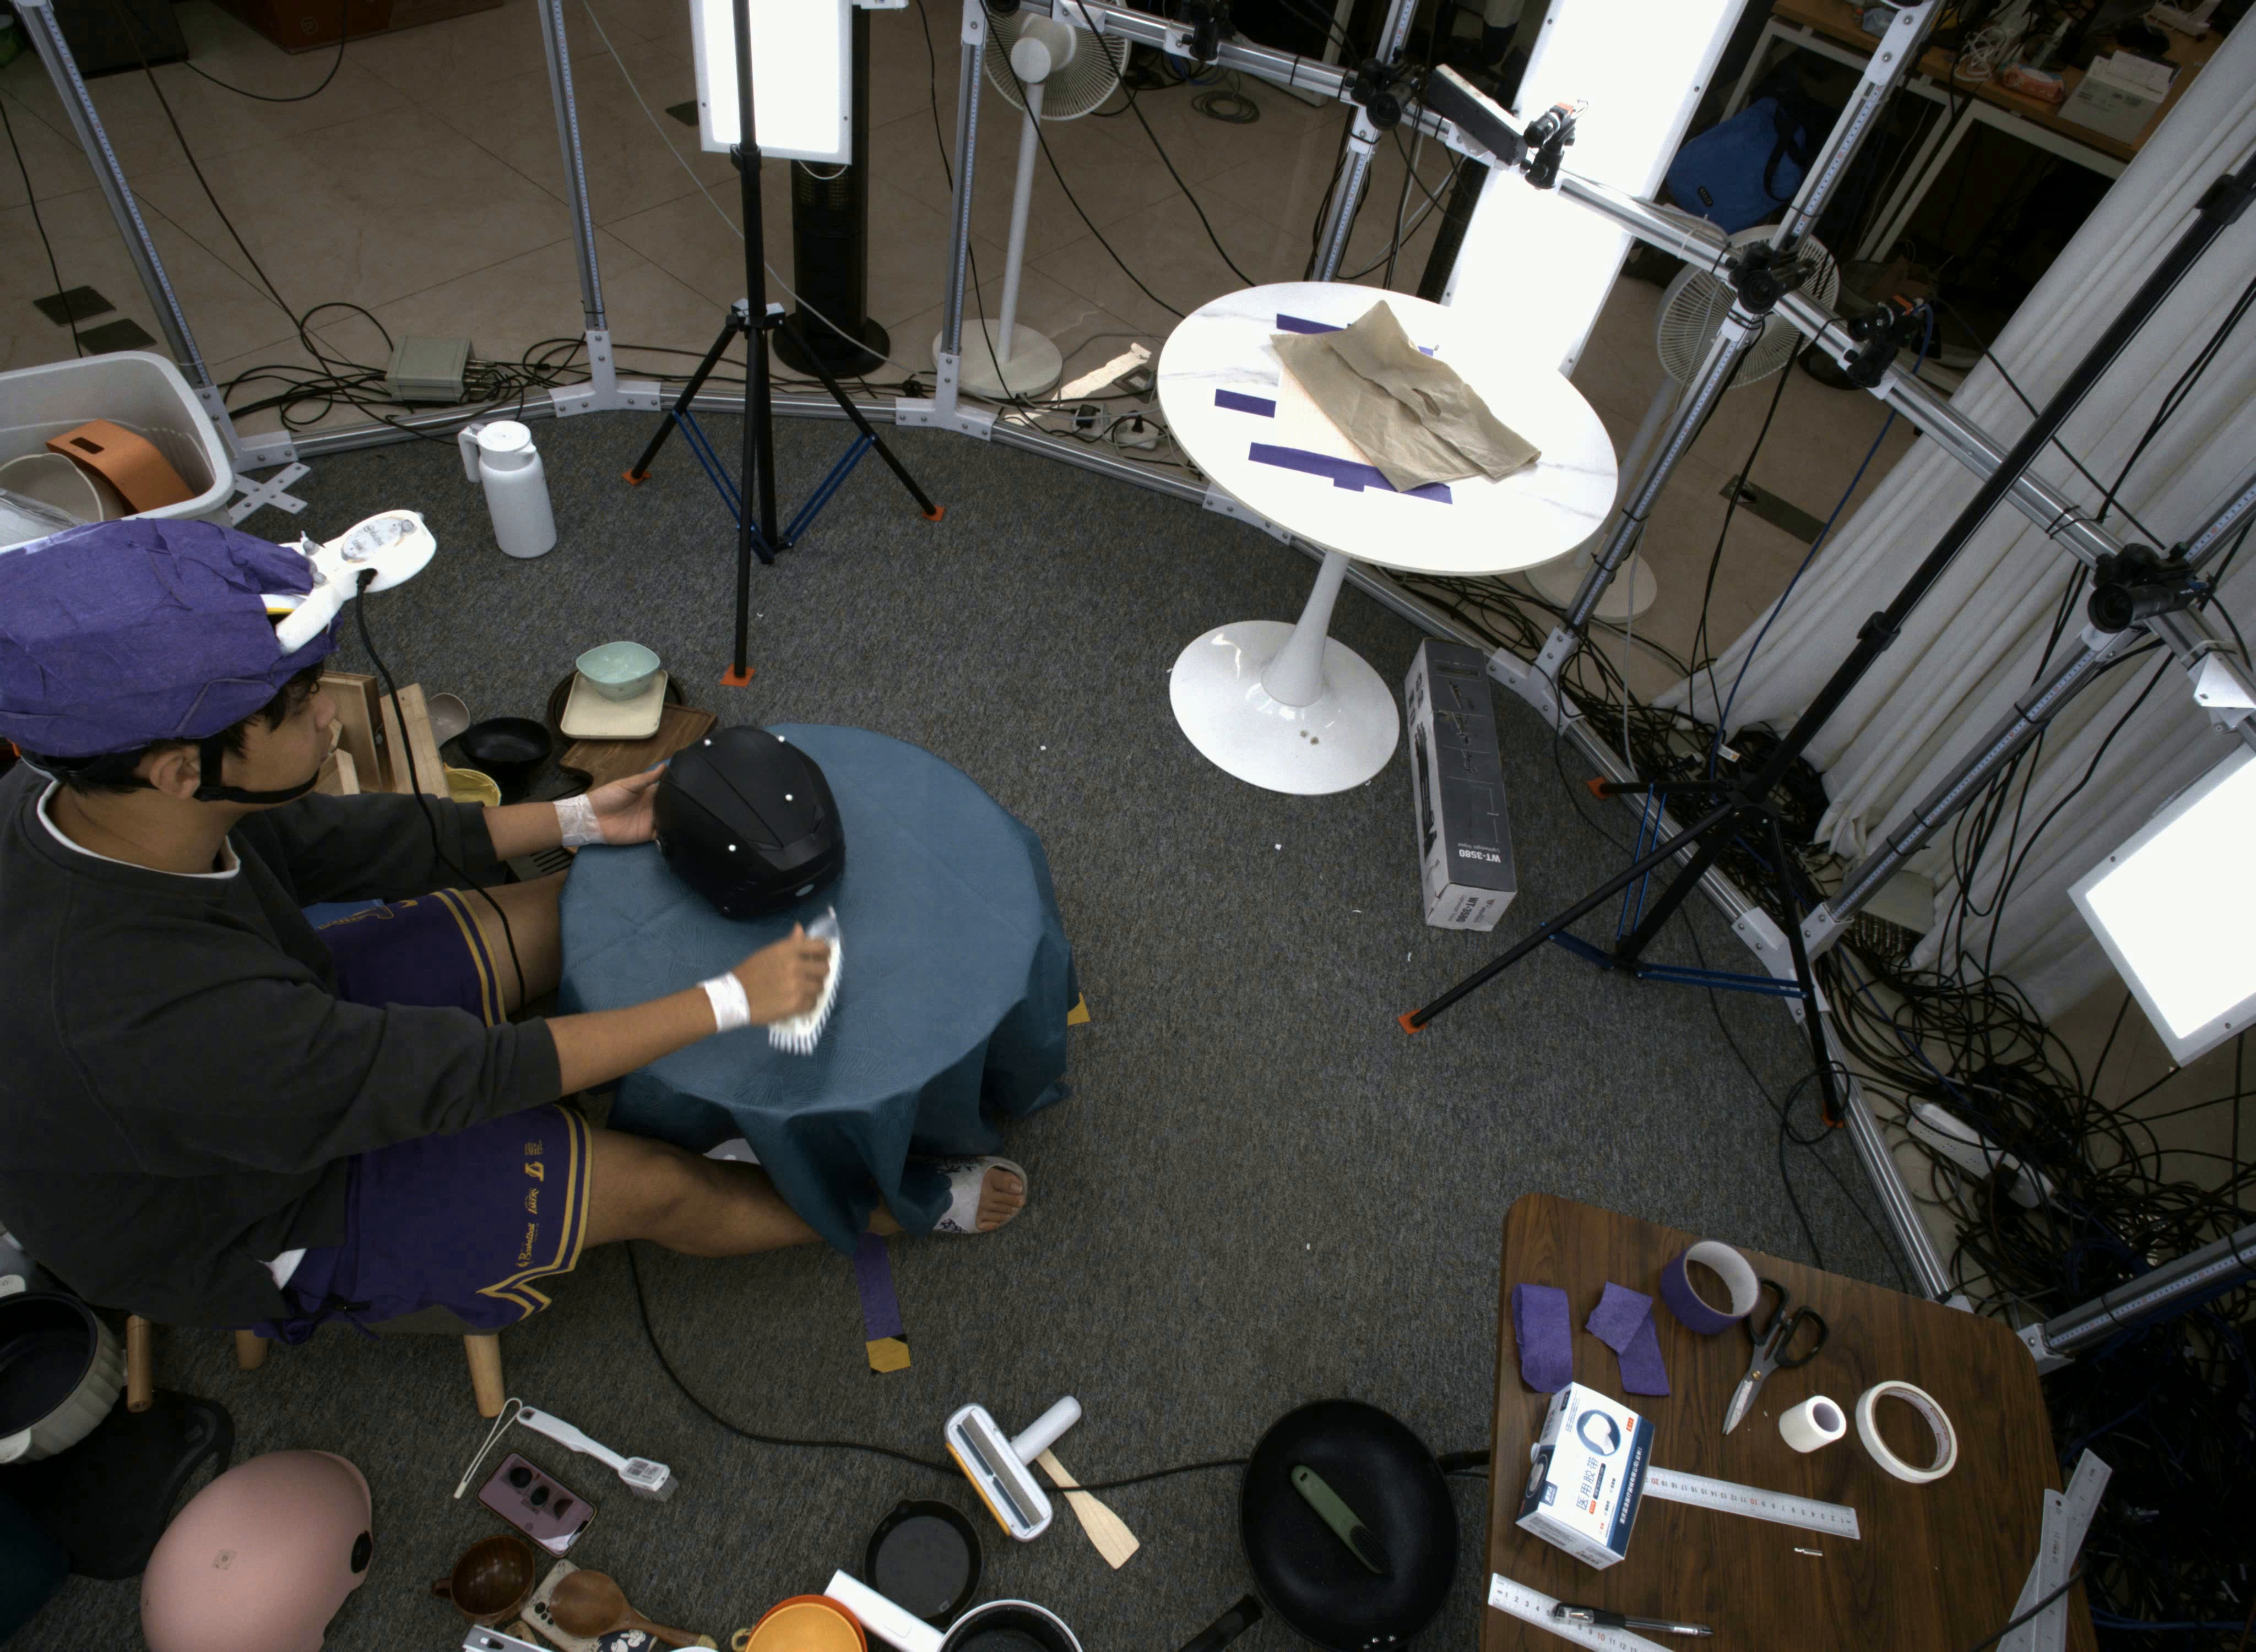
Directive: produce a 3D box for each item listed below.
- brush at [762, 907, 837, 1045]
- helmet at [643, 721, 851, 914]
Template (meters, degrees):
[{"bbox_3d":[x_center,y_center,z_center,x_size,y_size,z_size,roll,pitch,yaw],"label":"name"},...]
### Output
[{"bbox_3d":[-0.370,0.152,1.490,0.061,0.097,0.173,11,47,2],"label":"brush"},{"bbox_3d":[-0.478,-0.028,1.634,0.248,0.175,0.271,-29,69,-31],"label":"helmet"}]
